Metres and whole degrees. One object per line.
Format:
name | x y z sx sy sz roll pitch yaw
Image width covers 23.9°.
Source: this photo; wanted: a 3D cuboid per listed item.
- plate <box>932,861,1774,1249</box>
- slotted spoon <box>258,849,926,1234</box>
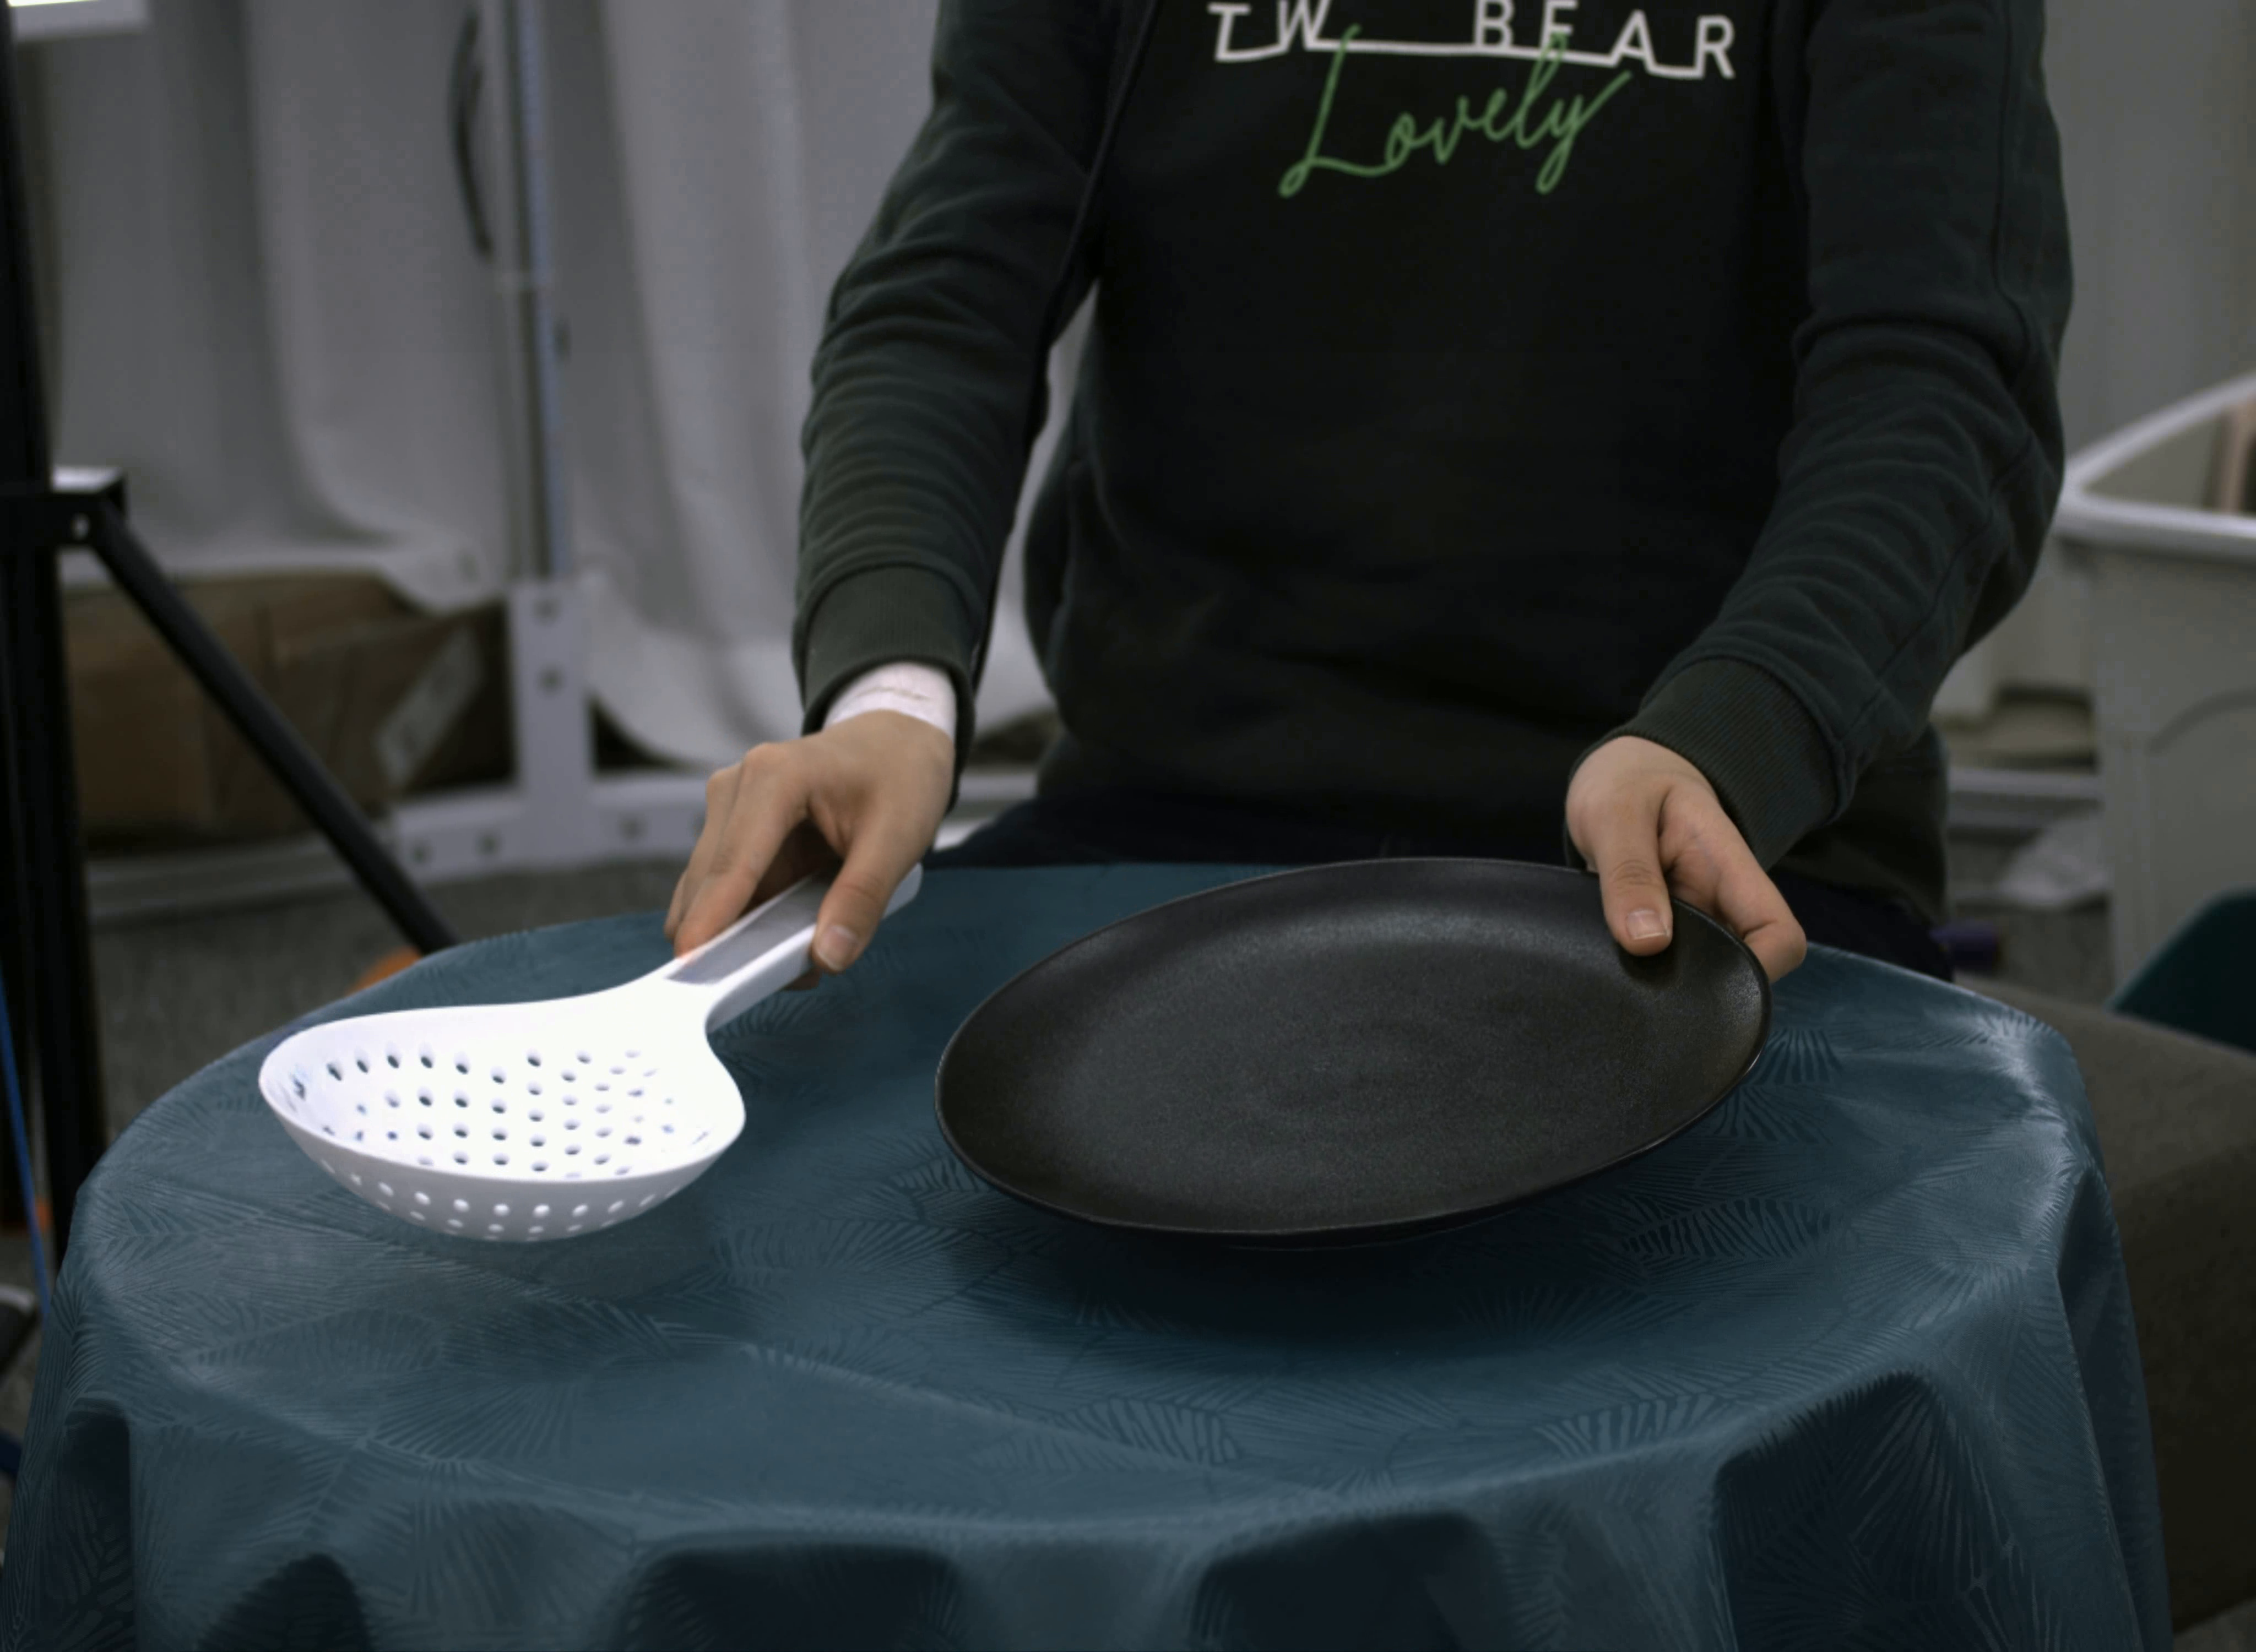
plate | 0.065 0.069 1.529 0.243 0.023 0.246 -8 23 2
slotted spoon | -0.139 0.055 1.595 0.137 0.046 0.345 13 22 18
